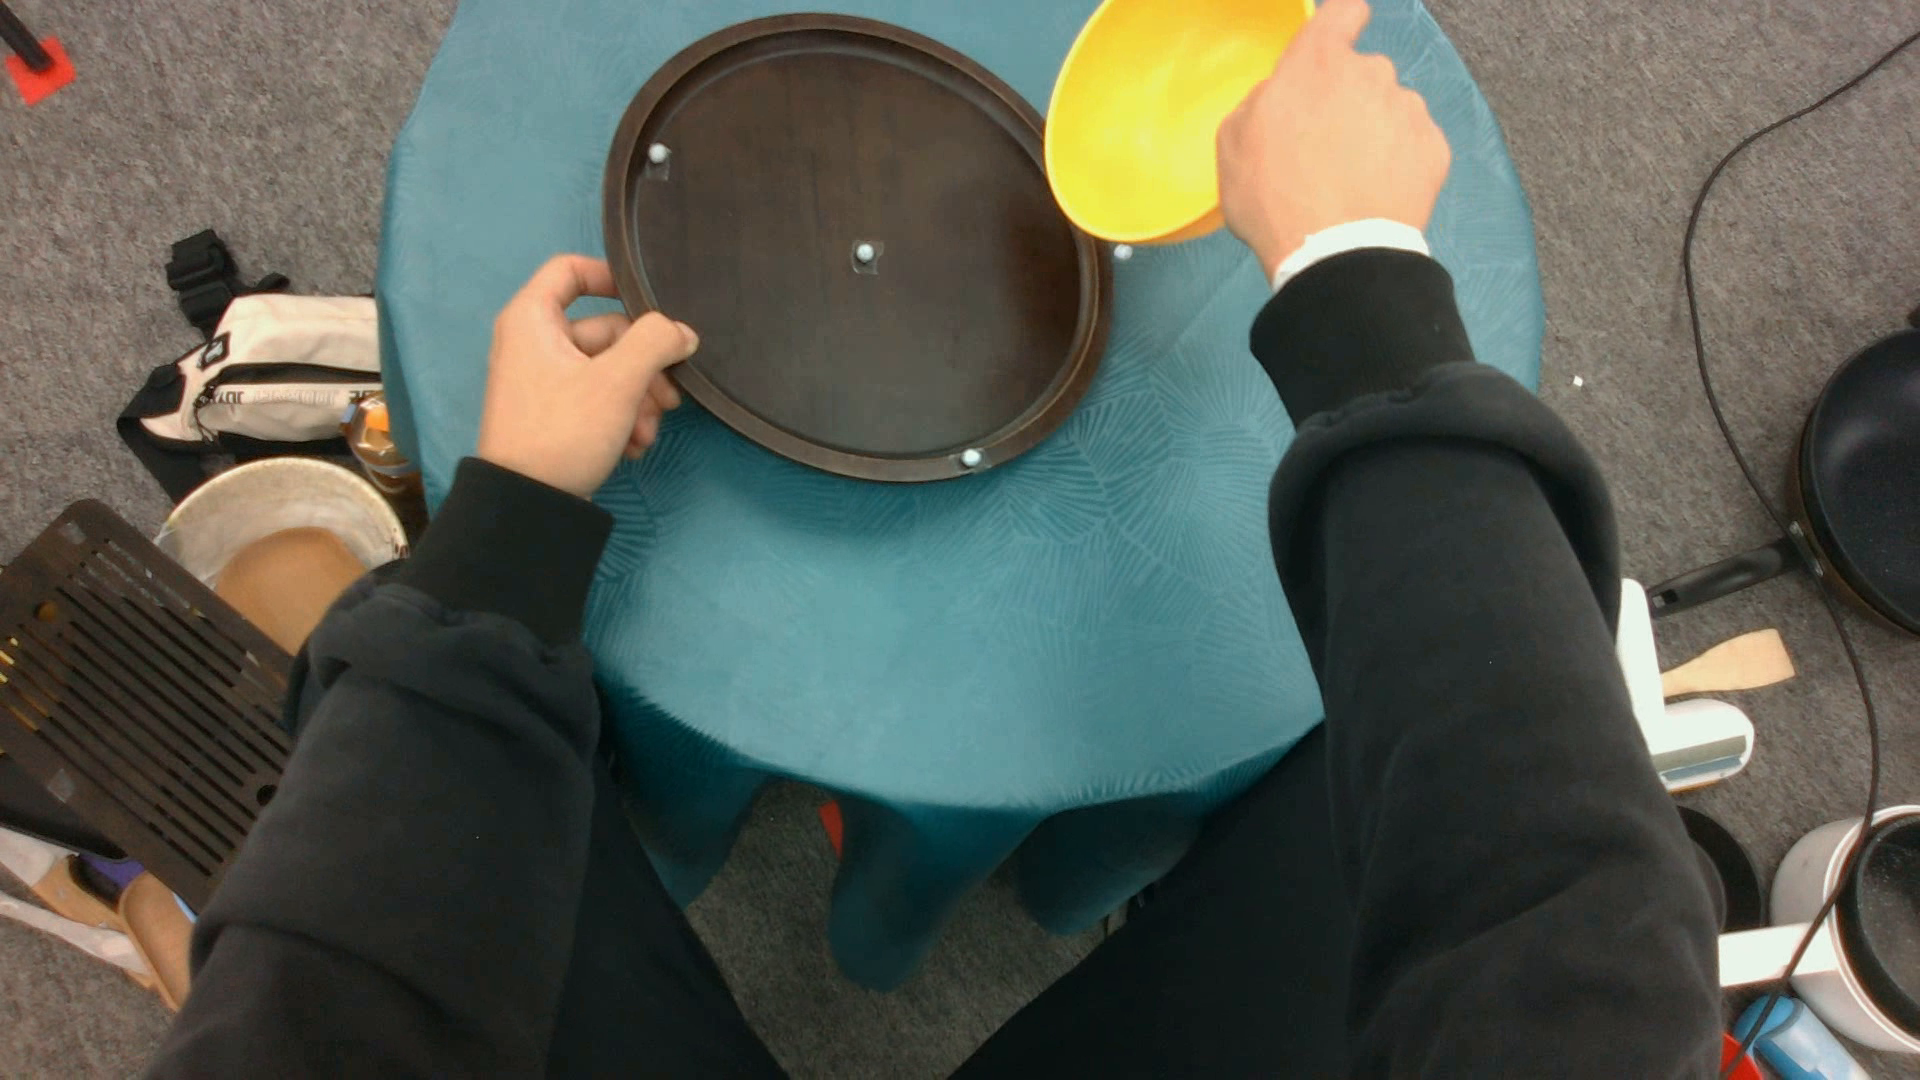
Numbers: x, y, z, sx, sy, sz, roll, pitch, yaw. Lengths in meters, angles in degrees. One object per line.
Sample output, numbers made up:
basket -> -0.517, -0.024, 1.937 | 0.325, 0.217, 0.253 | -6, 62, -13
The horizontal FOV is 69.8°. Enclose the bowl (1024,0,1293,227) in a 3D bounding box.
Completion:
bowl -> 0.102, -0.208, 0.650 | 0.060, 0.145, 0.145 | 18, 65, -44

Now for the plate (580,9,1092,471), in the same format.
plate -> -0.054, -0.148, 0.666 | 0.255, 0.029, 0.255 | 8, 68, -20
